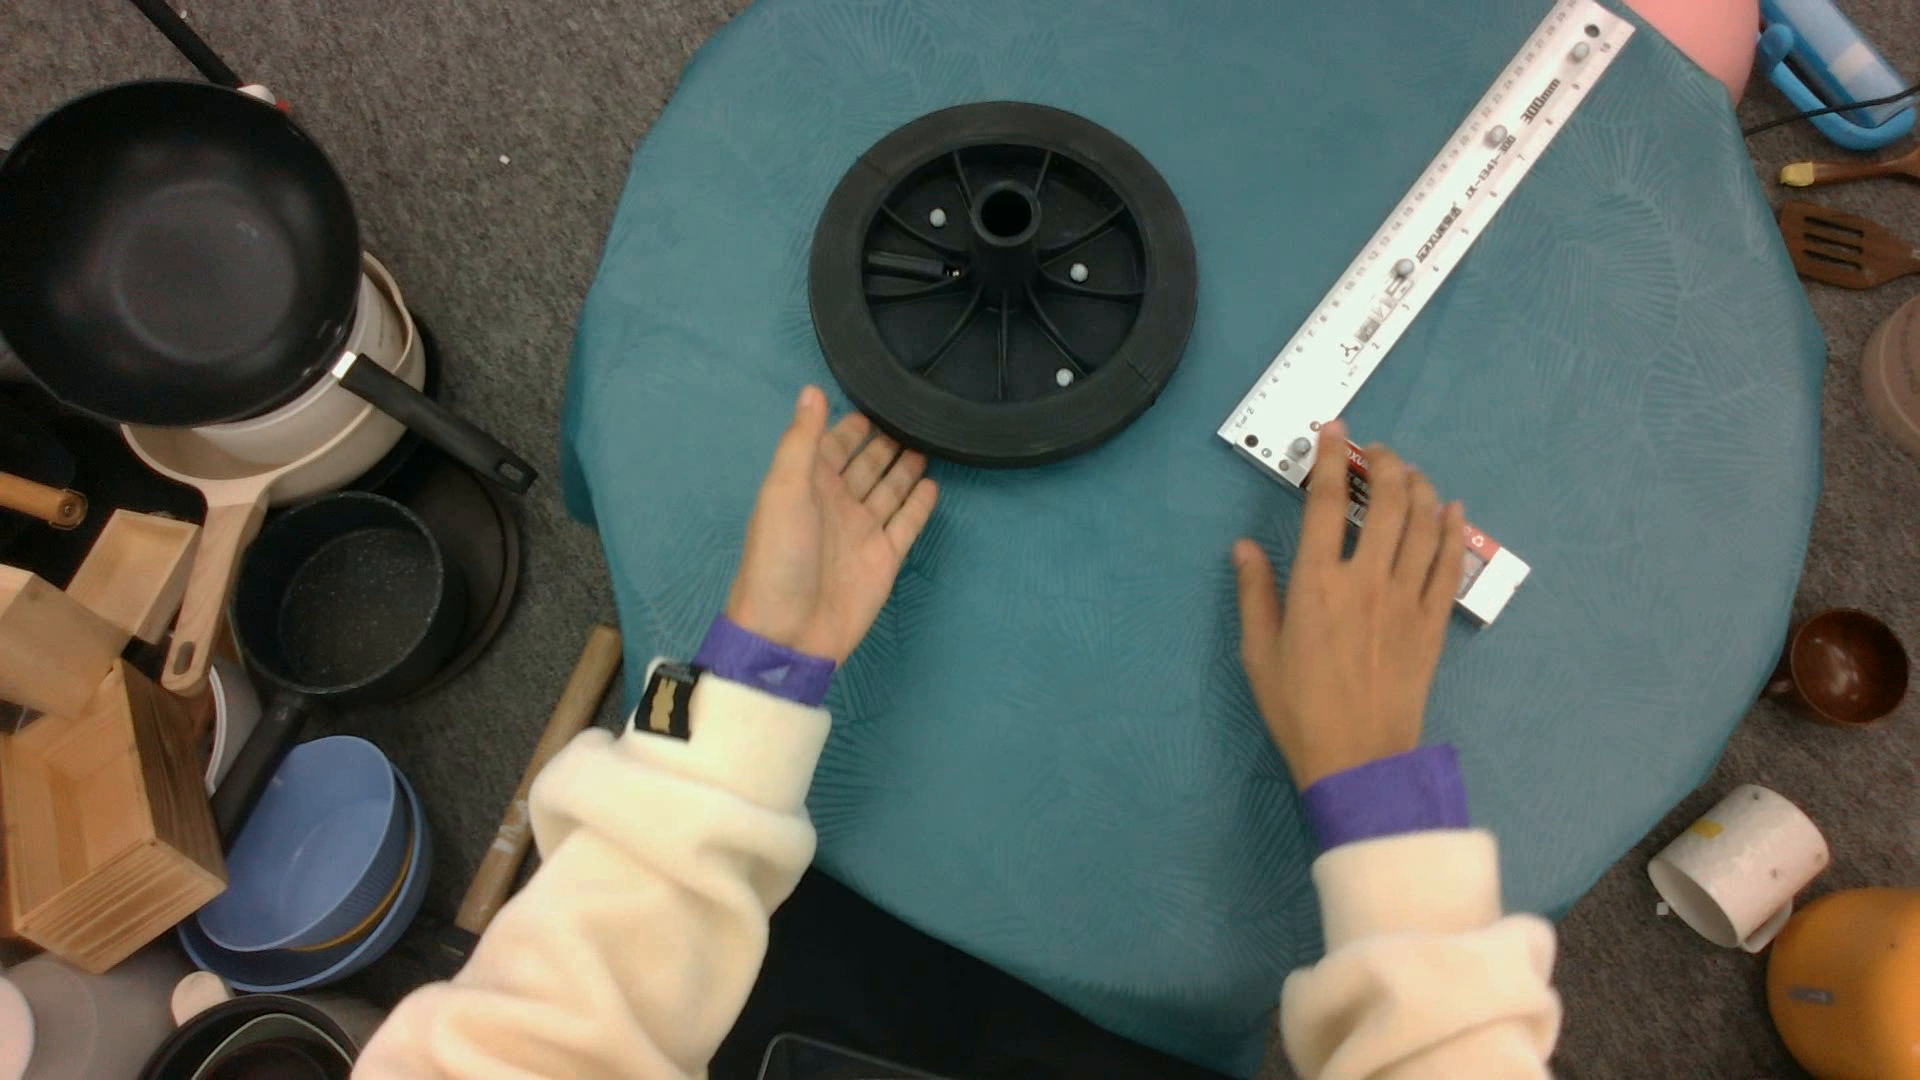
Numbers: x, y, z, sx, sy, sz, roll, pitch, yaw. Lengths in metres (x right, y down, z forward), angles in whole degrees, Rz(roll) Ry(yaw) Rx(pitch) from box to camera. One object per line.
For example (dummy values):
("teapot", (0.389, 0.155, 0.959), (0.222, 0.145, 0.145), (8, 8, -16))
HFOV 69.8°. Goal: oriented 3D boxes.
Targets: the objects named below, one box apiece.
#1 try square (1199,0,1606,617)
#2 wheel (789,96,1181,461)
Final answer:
("try square", (0.267, -0.127, 0.679), (0.152, 0.016, 0.313), (38, 78, 6))
("wheel", (0.012, -0.135, 0.646), (0.190, 0.079, 0.188), (-13, 74, -4))
